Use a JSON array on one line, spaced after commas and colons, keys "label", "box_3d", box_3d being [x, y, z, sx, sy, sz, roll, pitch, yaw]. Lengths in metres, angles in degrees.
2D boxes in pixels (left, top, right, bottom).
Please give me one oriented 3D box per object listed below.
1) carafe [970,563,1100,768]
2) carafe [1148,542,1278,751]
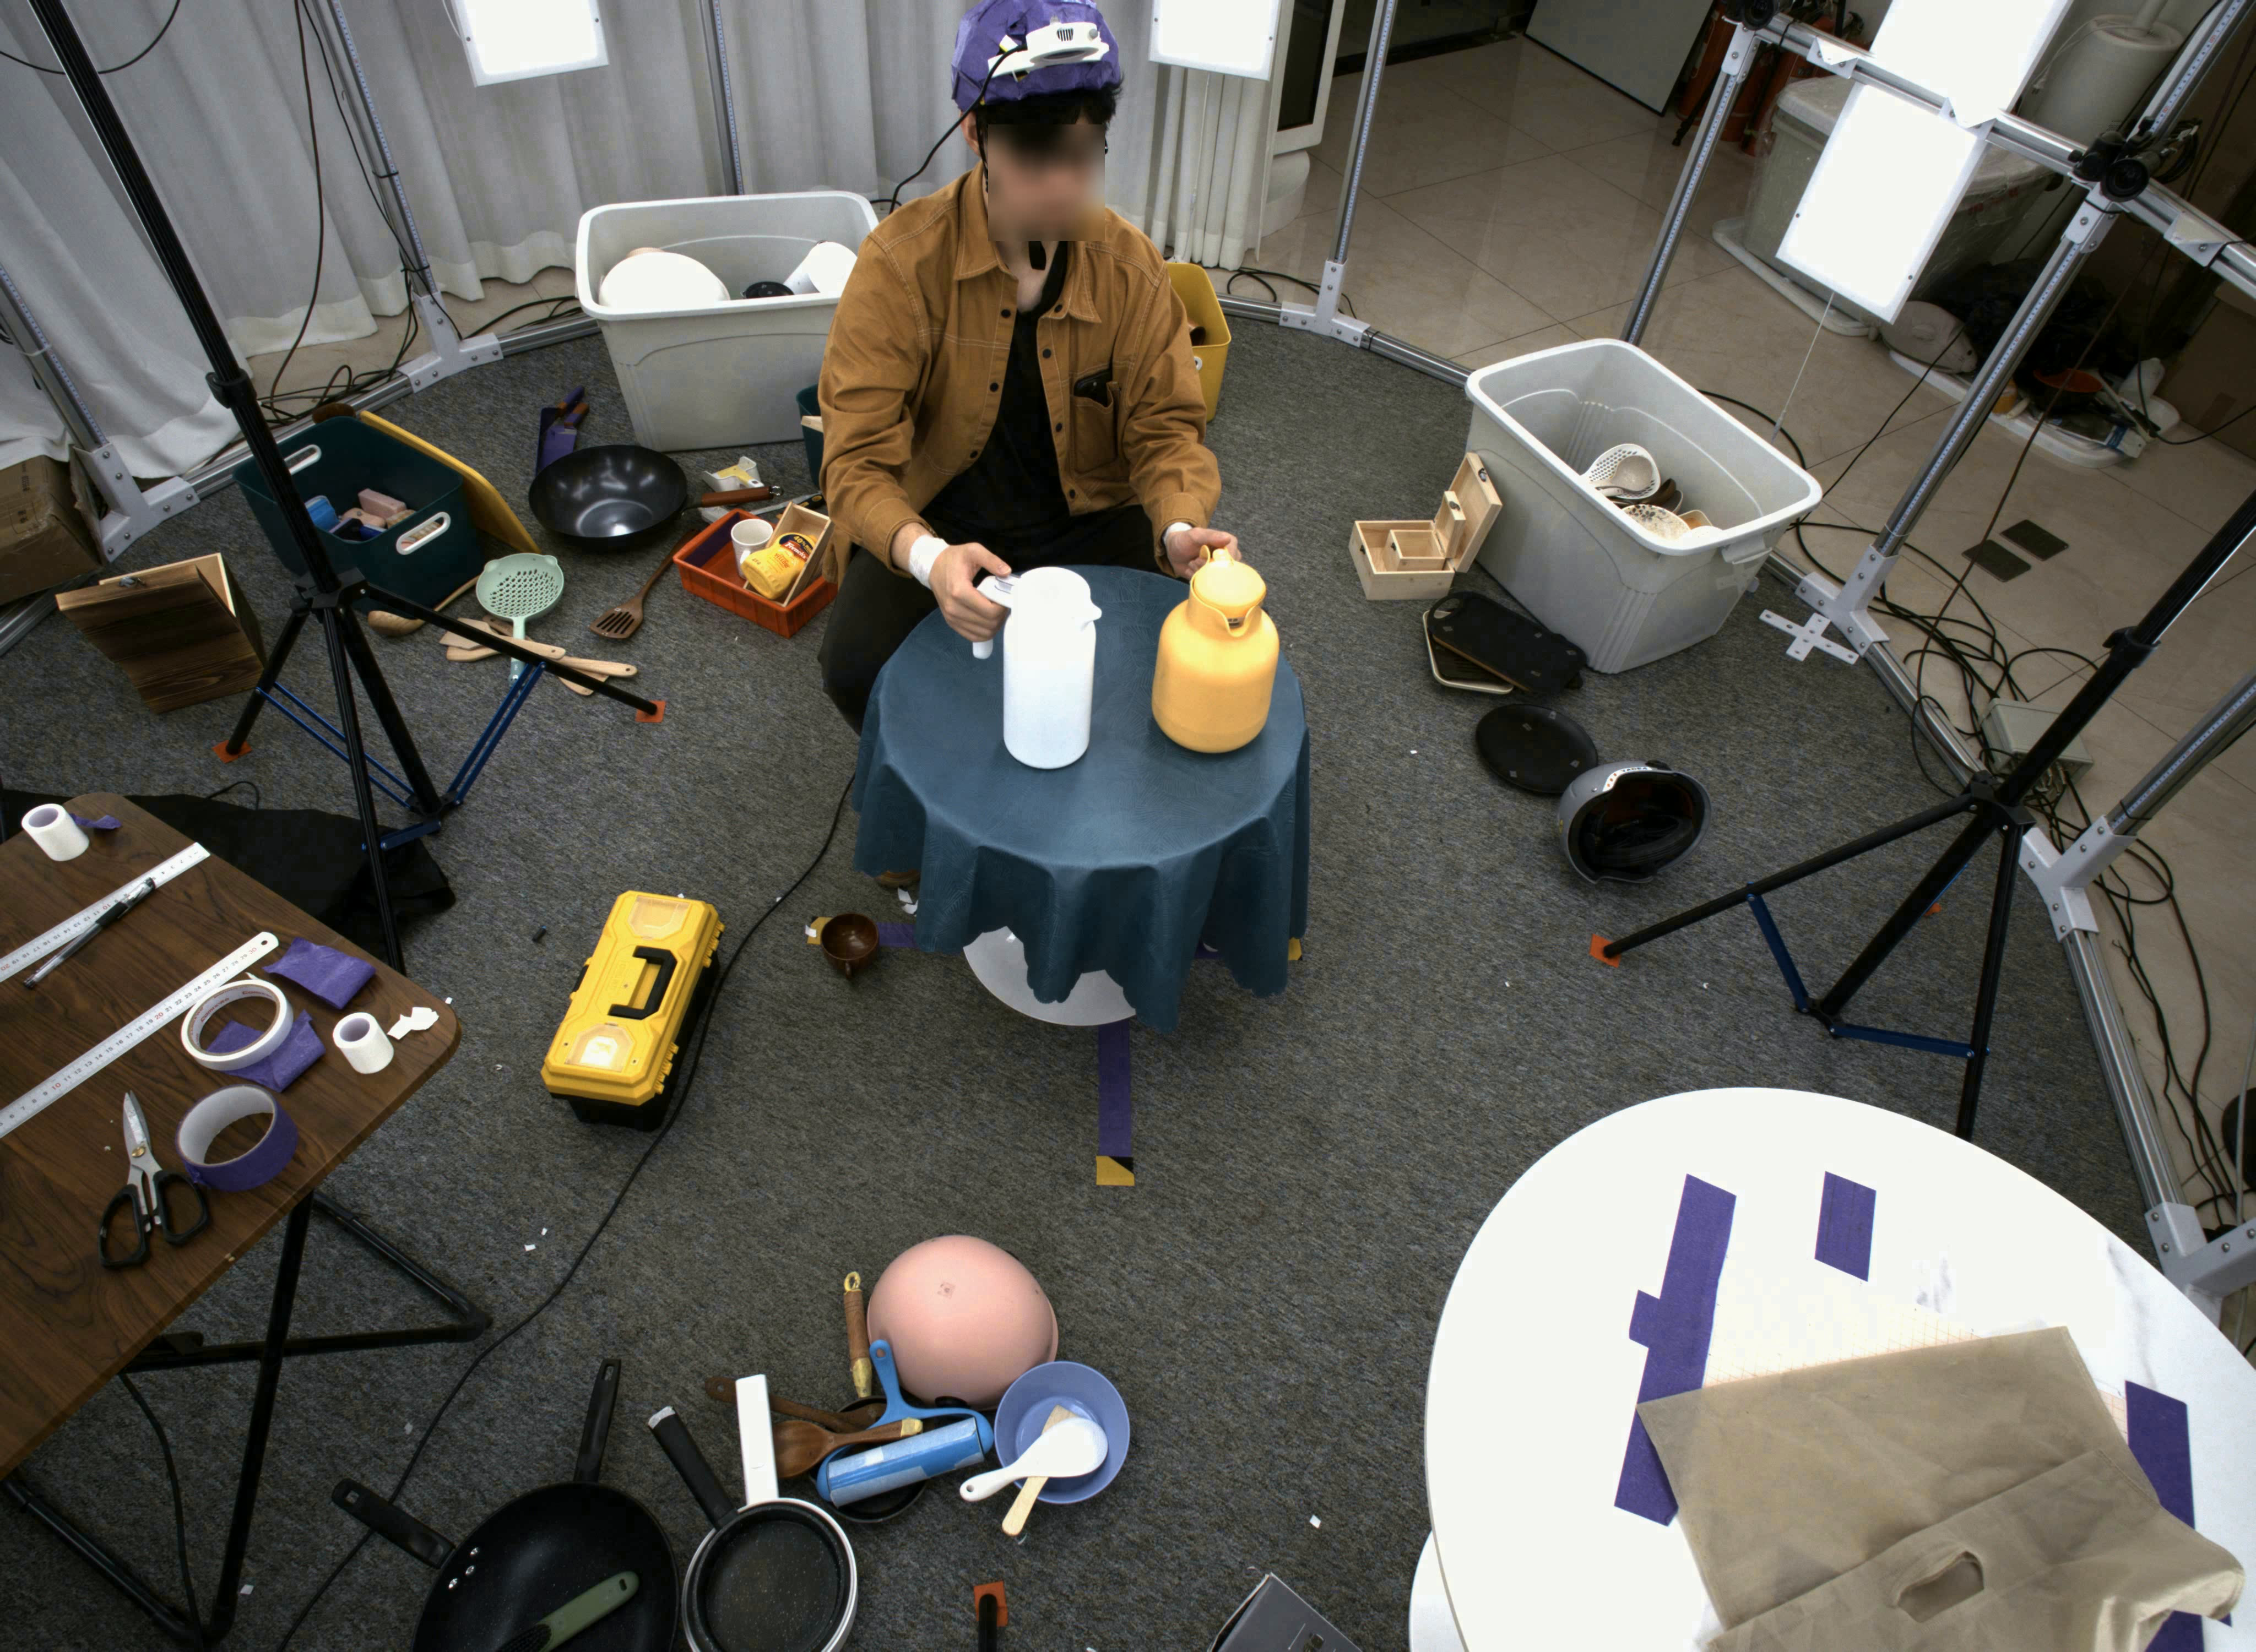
[{"label": "carafe", "box_3d": [-0.122, -0.208, 1.669, 0.174, 0.262, 0.126, 21, 53, 13]}, {"label": "carafe", "box_3d": [0.117, -0.247, 1.720, 0.163, 0.254, 0.207, 0, 51, -8]}]
